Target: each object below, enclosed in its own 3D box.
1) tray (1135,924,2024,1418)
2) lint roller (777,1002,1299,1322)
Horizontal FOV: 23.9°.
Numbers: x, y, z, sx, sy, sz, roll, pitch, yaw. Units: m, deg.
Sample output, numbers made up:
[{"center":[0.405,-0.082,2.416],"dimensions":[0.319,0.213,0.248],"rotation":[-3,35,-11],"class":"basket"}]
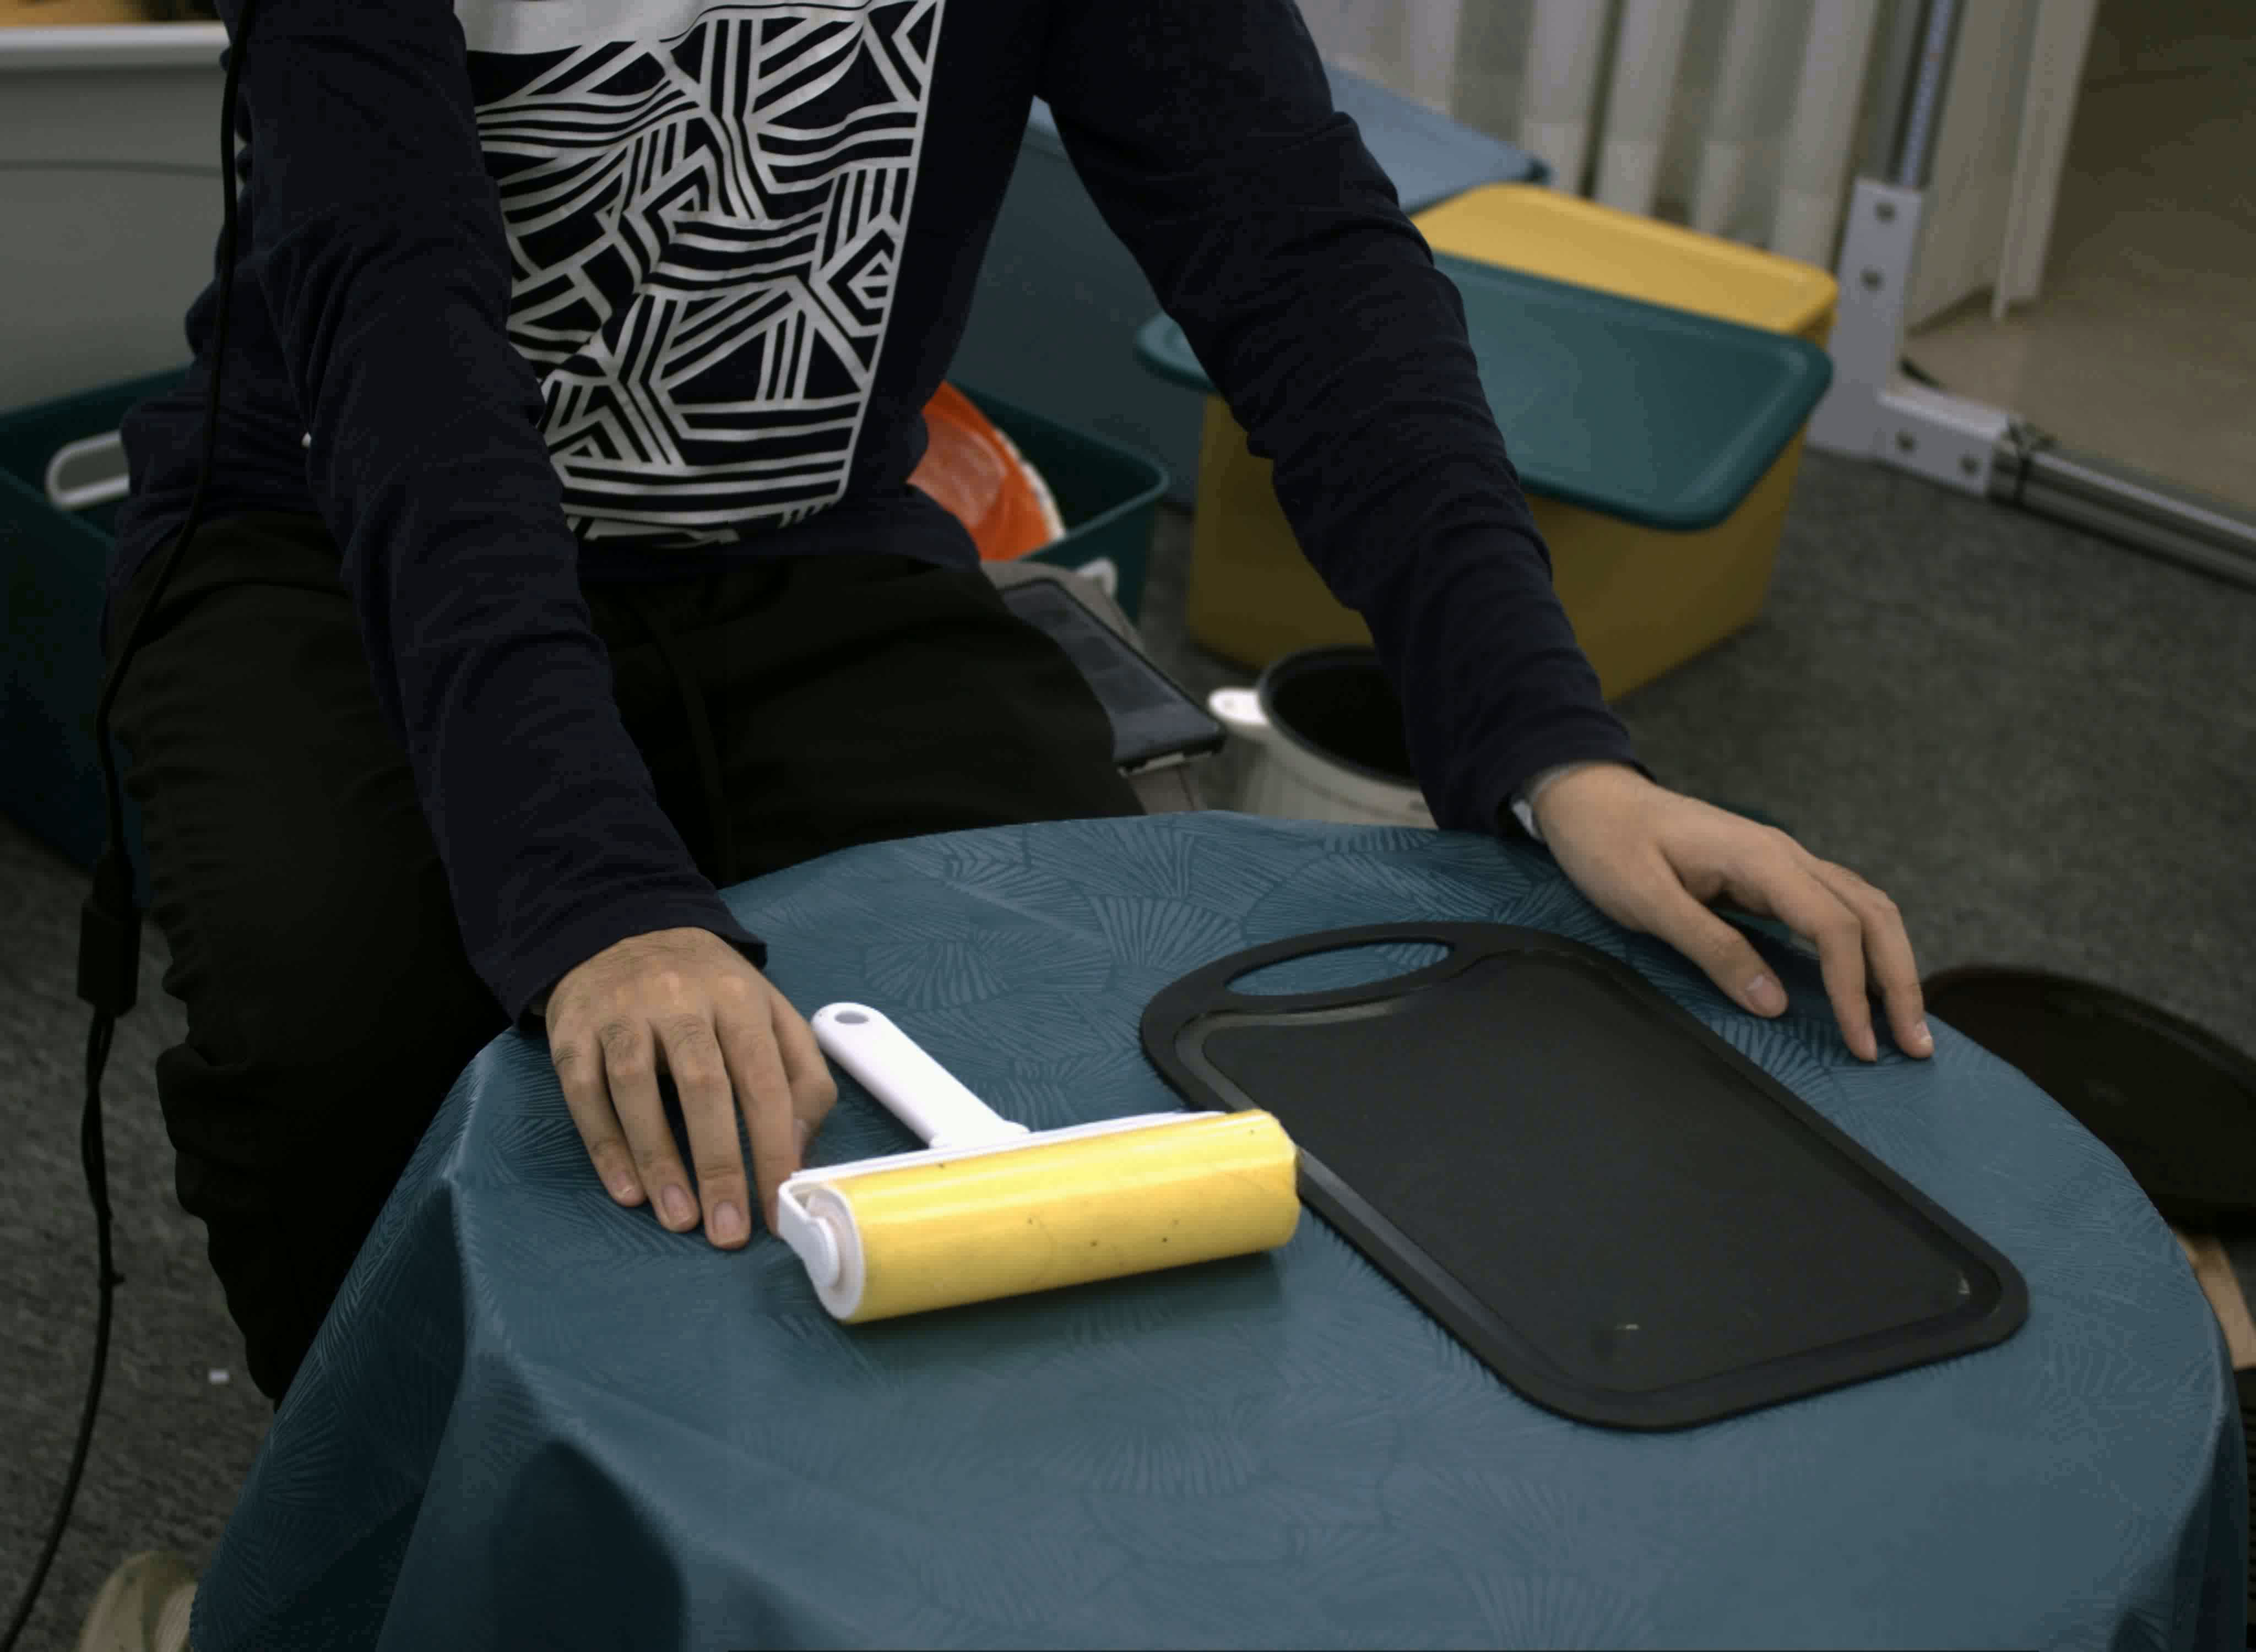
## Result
[{"center":[0.147,0.111,1.858],"dimensions":[0.210,0.010,0.328],"rotation":[-10,31,-30],"class":"tray"},{"center":[-0.059,0.095,1.795],"dimensions":[0.173,0.051,0.194],"rotation":[-8,33,-28],"class":"lint roller"}]
